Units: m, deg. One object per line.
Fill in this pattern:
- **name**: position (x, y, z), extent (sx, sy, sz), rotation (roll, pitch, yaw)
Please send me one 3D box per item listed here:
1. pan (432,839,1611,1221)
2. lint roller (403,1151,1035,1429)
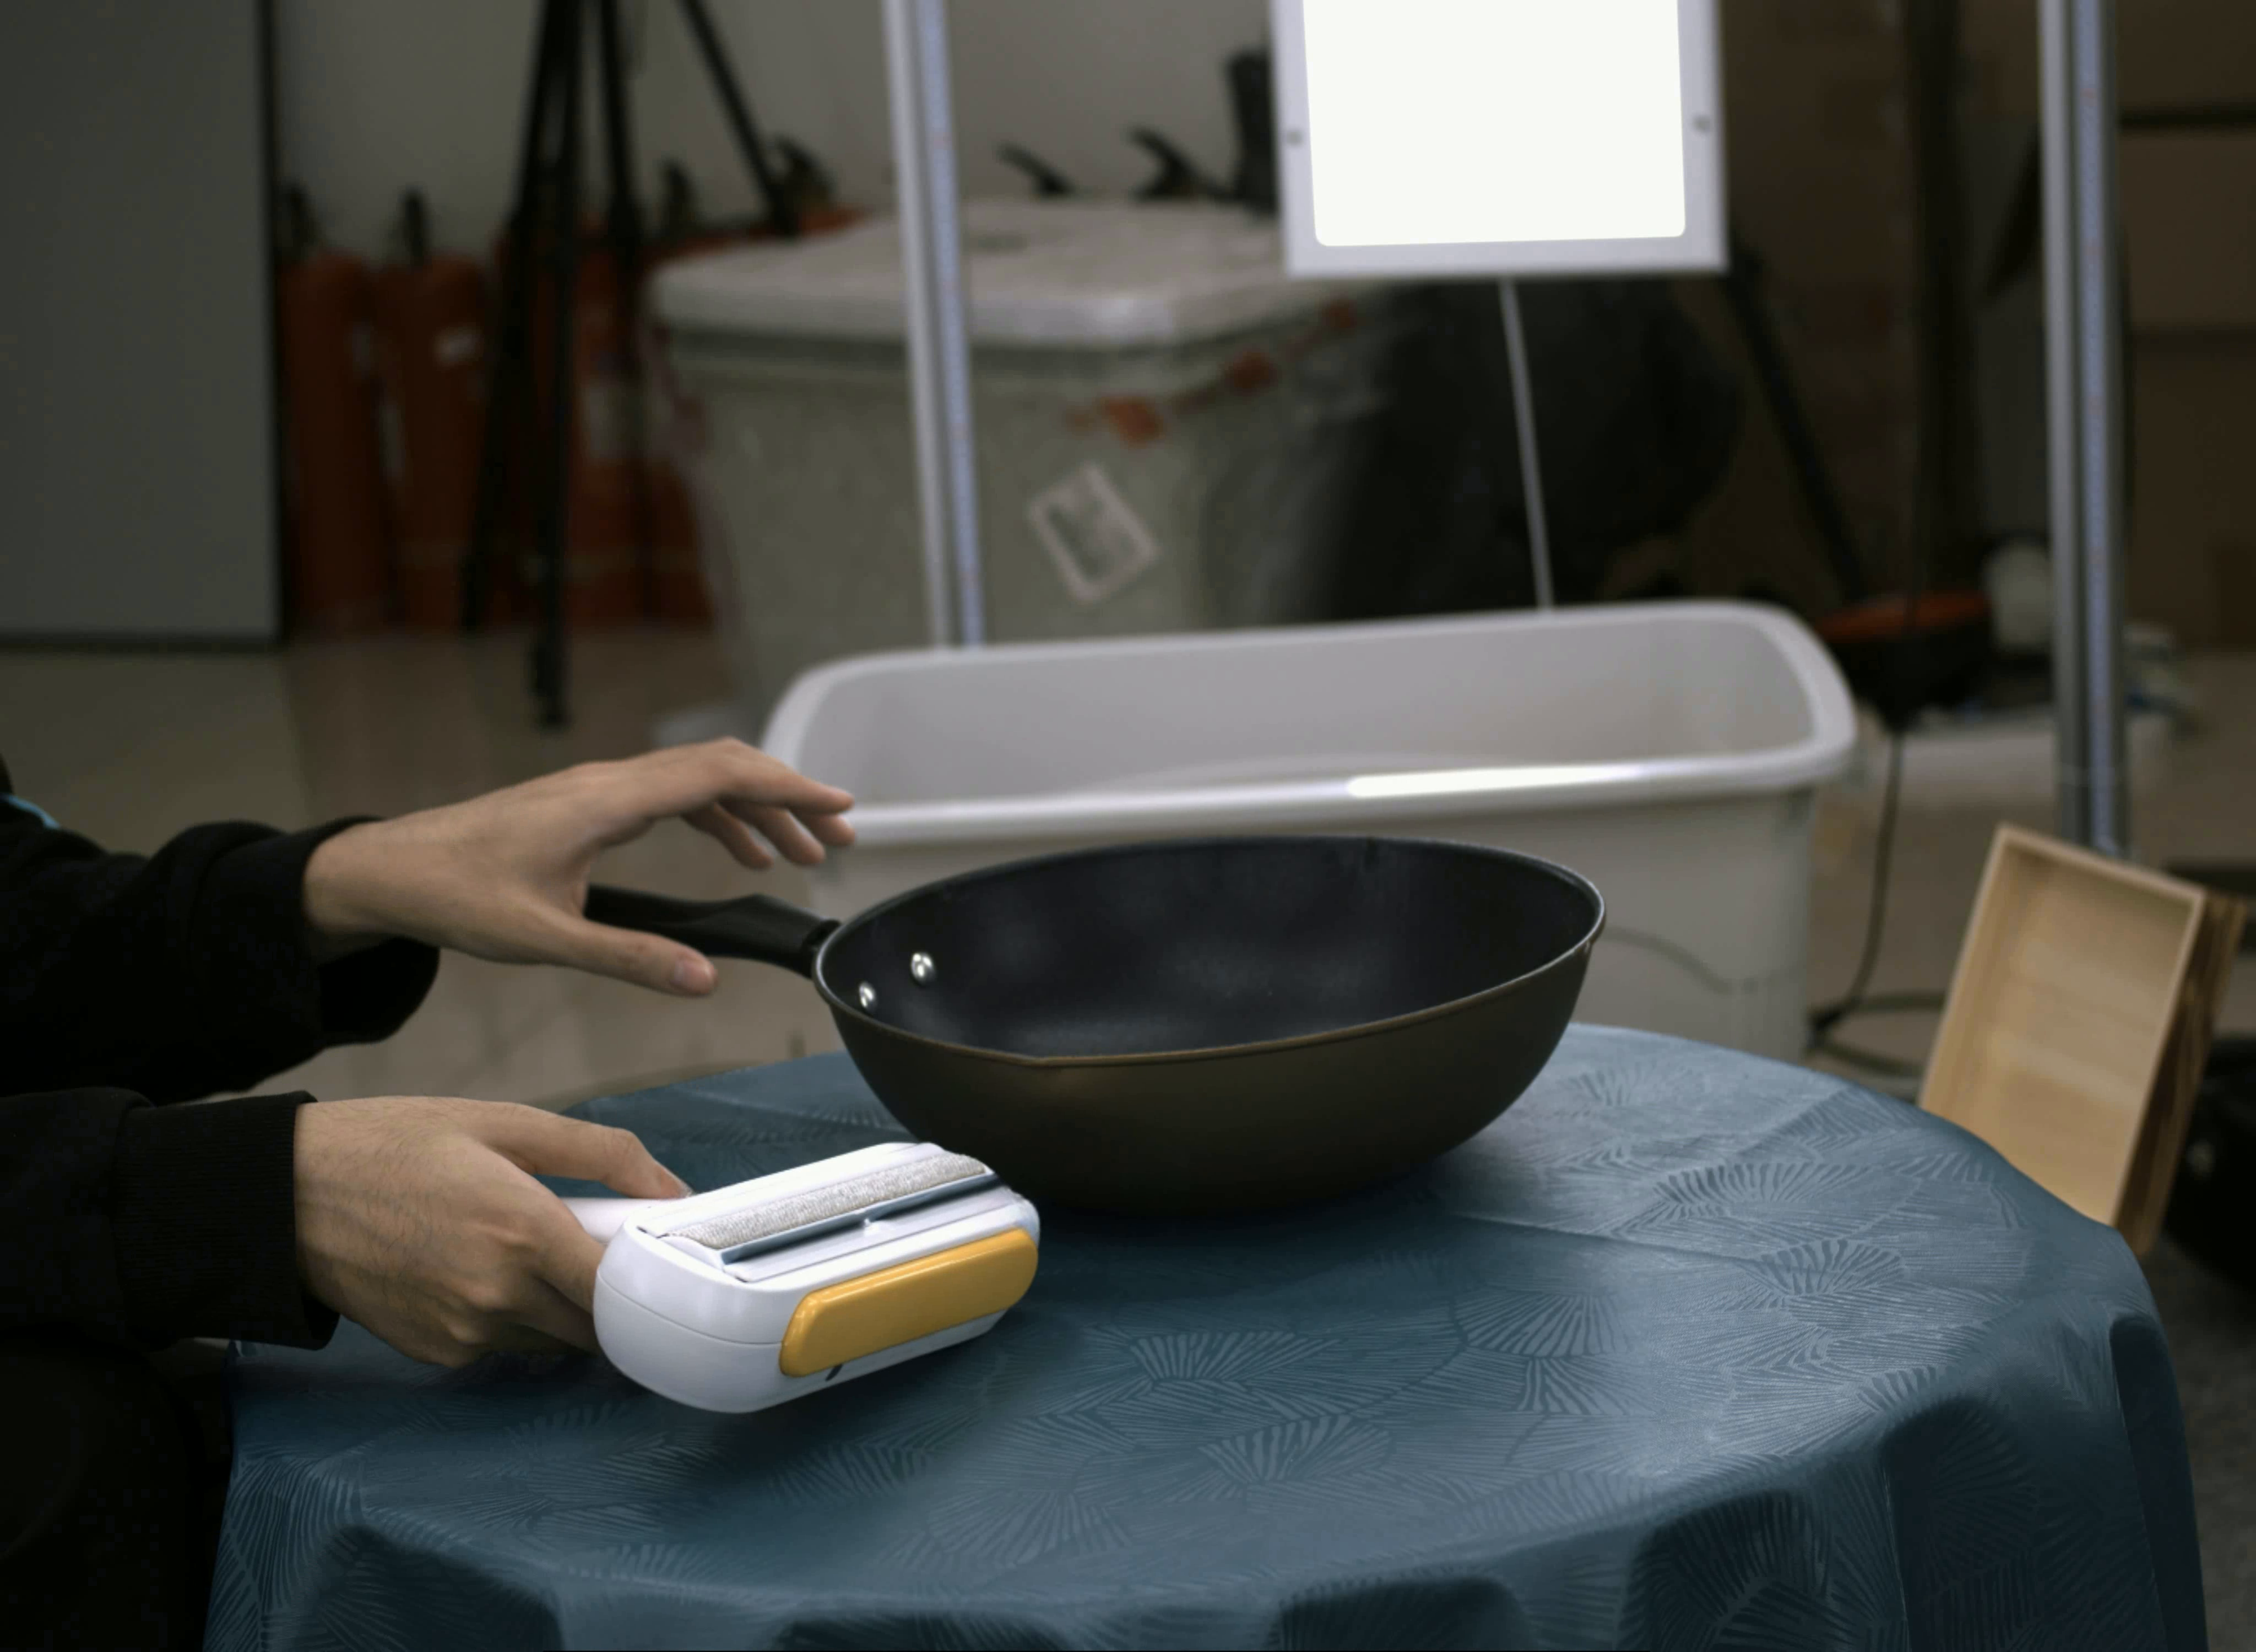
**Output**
- **pan**: position (-0.050, 0.072, 1.962), extent (0.471, 0.087, 0.282), rotation (2, 16, 28)
- **lint roller**: position (-0.148, 0.134, 1.739), extent (0.196, 0.074, 0.188), rotation (15, 17, 32)
